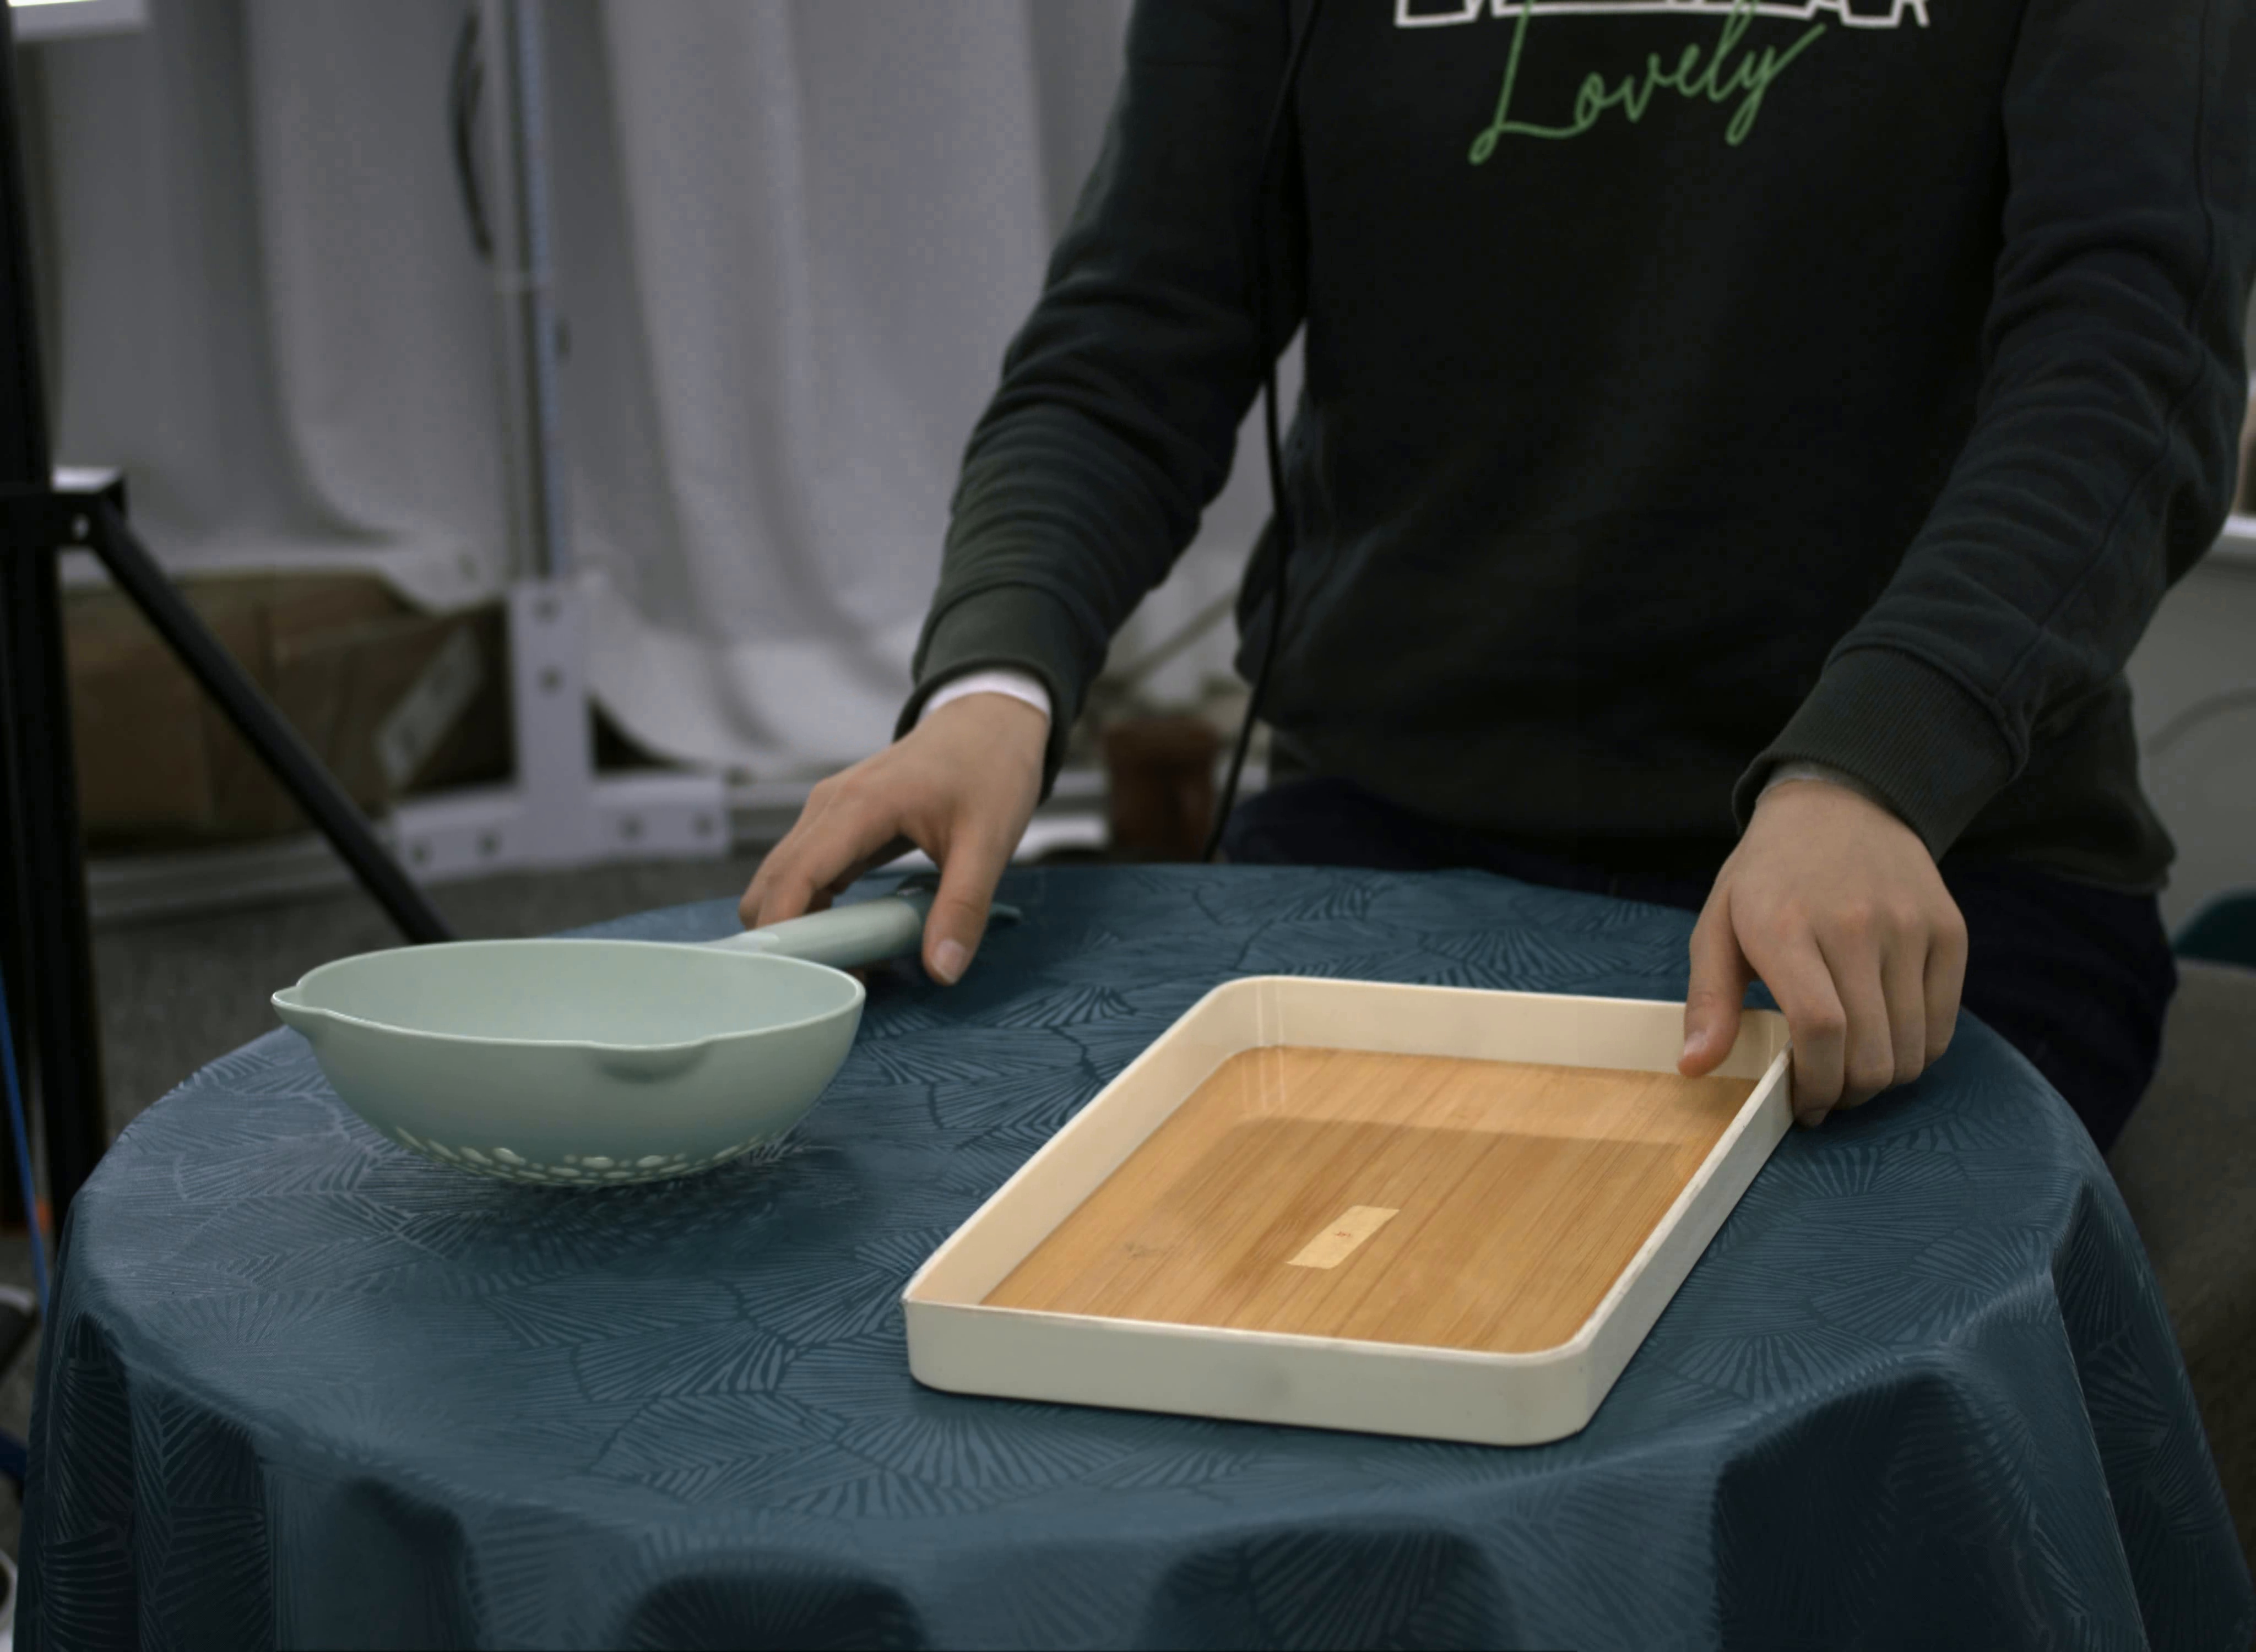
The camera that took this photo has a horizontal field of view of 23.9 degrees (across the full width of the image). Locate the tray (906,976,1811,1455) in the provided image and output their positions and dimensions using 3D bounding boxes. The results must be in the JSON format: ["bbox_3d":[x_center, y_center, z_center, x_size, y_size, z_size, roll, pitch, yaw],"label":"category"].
[{"bbox_3d":[0.074,0.105,1.509,0.194,0.027,0.297,3,17,20],"label":"tray"}]

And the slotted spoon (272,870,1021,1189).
[{"bbox_3d":[-0.120,0.048,1.671,0.172,0.075,0.353,6,18,26],"label":"slotted spoon"}]
